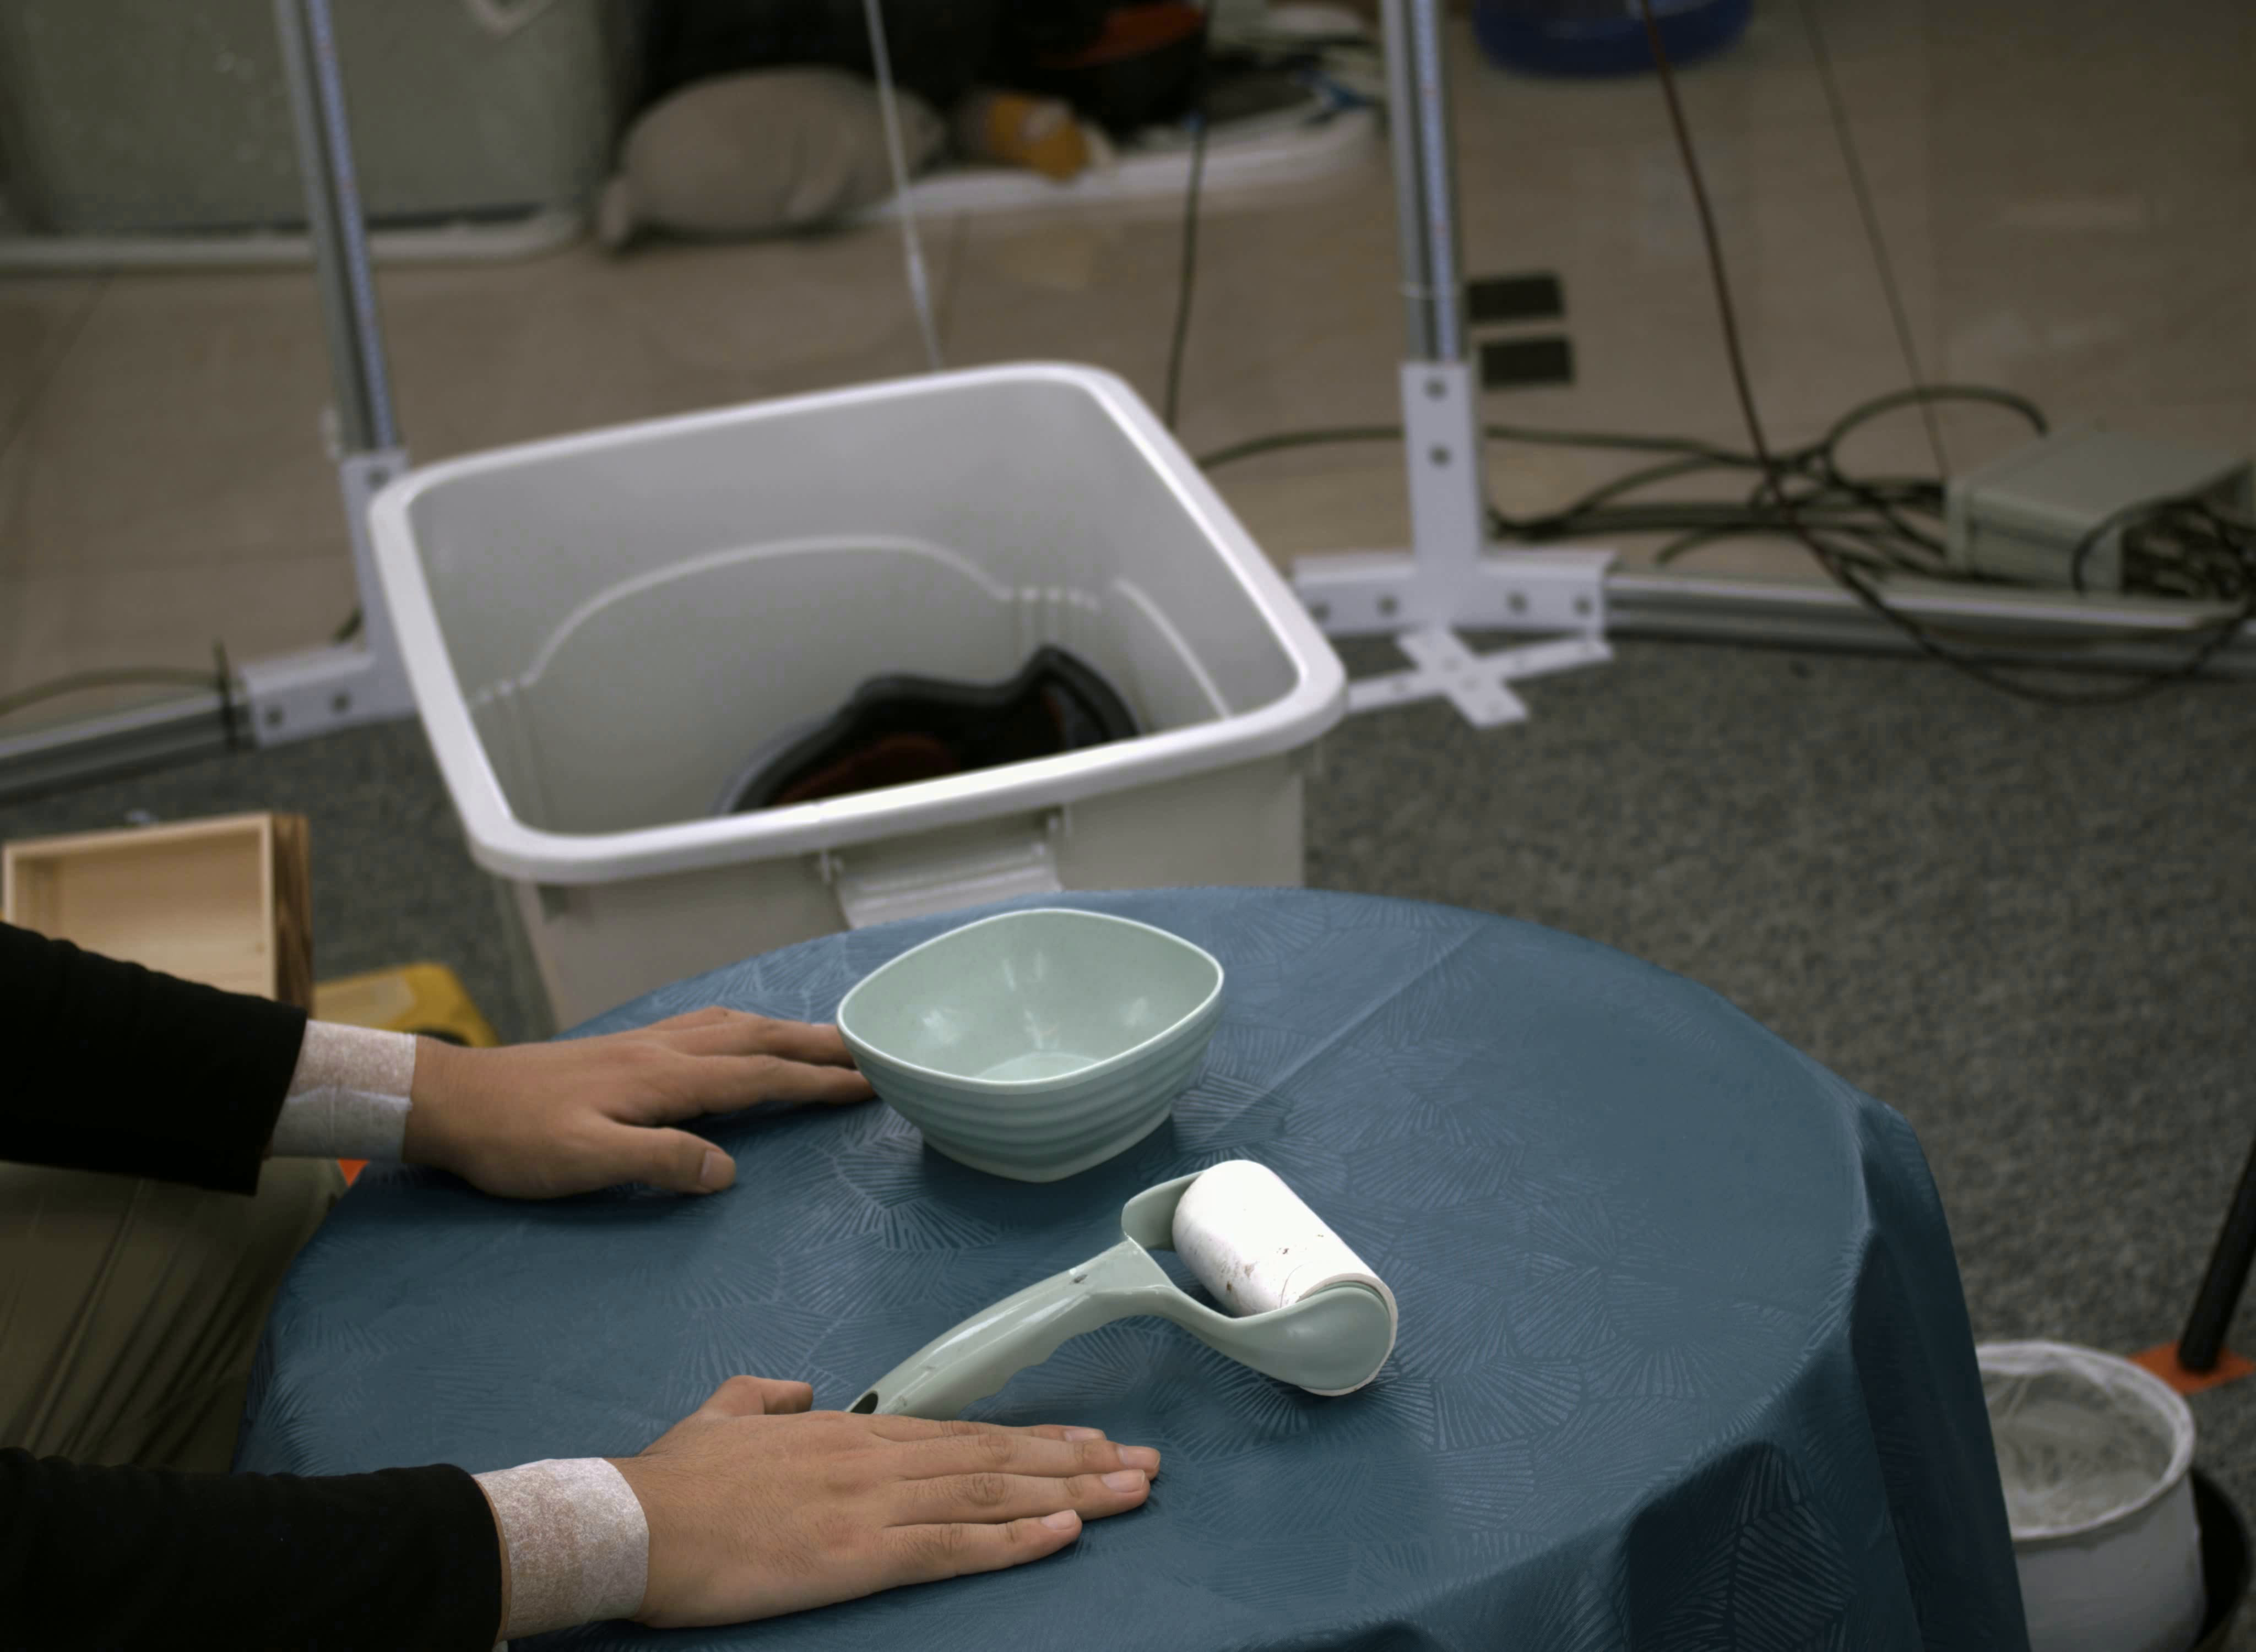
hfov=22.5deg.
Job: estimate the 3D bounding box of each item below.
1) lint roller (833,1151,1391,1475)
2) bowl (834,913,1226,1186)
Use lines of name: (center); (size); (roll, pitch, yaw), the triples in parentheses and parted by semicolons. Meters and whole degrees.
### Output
lint roller: (-0.016, 0.177, 2.015); (0.197, 0.049, 0.115); (-16, 28, -16)
bowl: (-0.036, 0.091, 2.192); (0.151, 0.059, 0.149); (-4, 25, 2)
